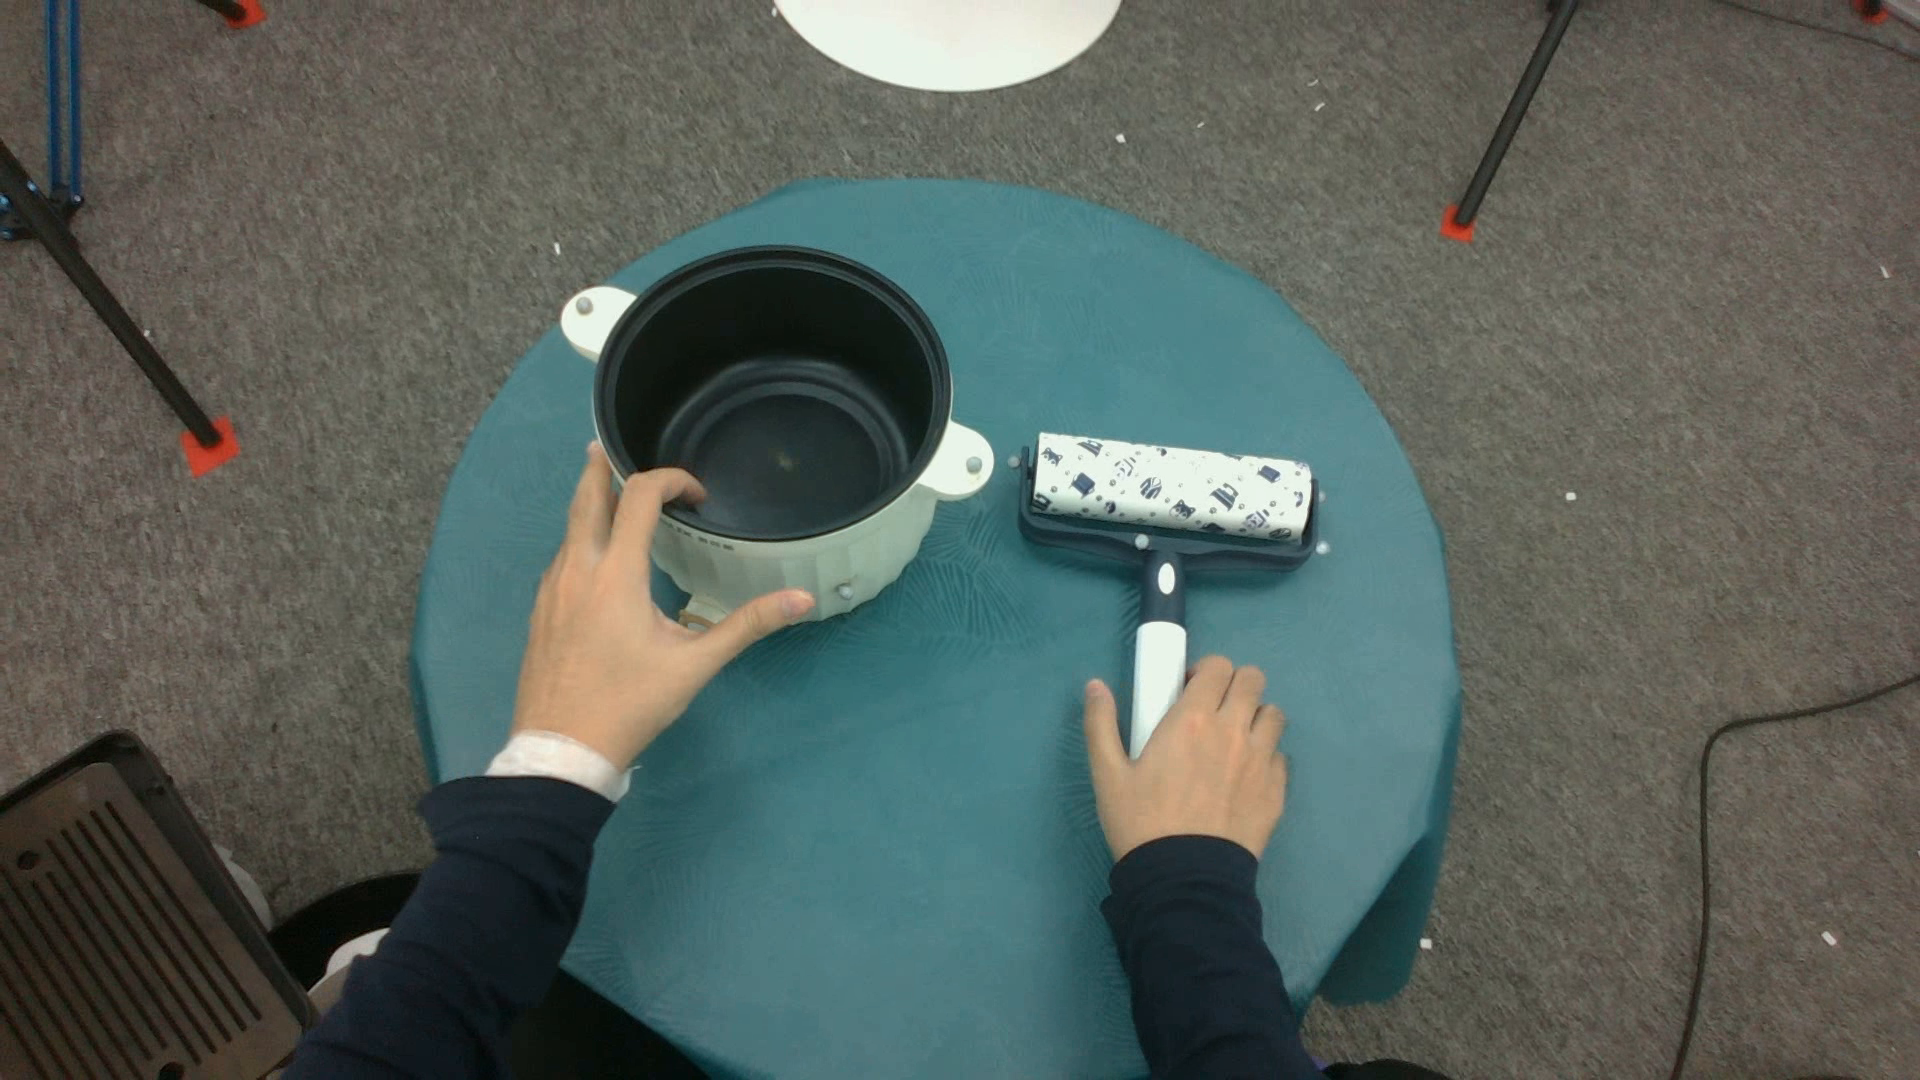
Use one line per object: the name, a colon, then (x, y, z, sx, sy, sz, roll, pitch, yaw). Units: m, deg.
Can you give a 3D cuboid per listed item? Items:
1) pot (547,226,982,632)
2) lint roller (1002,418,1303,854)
pot: (-0.107, -0.054, 0.755, 0.240, 0.142, 0.191, 21, 59, 8)
lint roller: (0.106, 0.050, 0.771, 0.176, 0.050, 0.248, 6, 64, -2)
